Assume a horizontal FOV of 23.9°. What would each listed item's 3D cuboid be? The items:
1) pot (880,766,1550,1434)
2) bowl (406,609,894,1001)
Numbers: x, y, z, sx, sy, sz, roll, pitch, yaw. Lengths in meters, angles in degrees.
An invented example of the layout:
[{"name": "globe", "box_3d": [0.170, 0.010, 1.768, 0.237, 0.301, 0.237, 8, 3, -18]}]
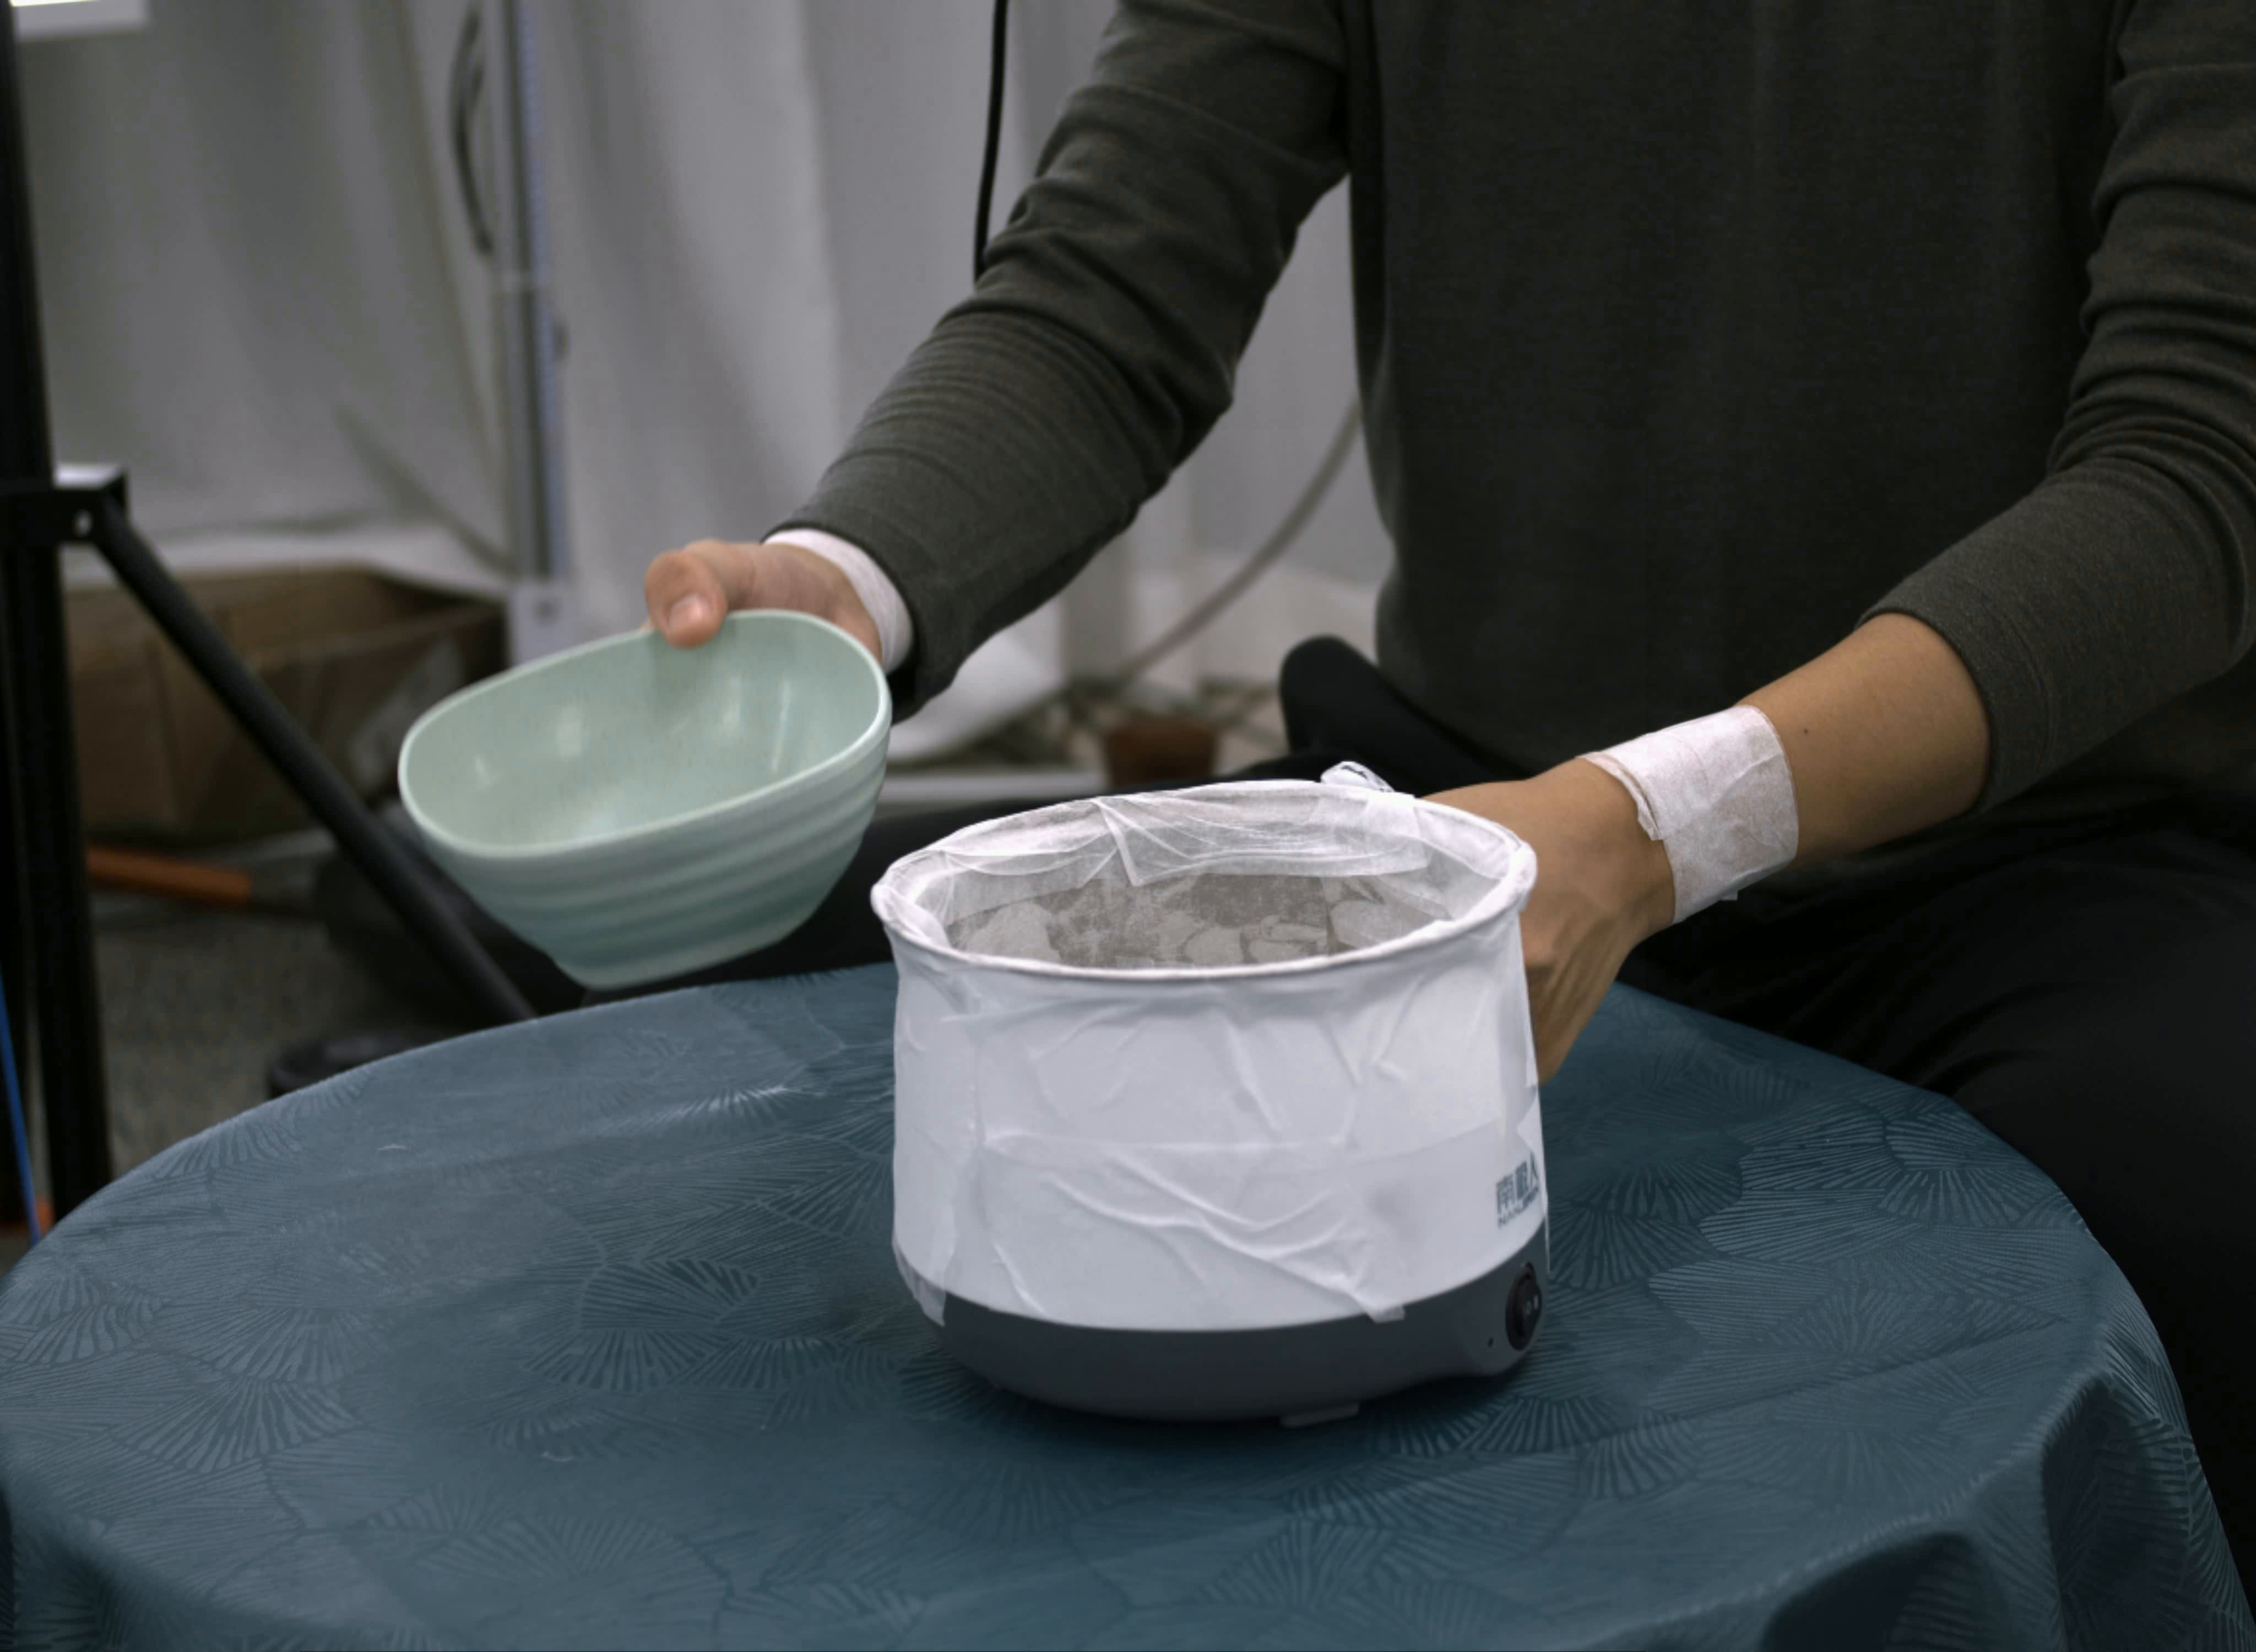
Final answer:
[{"name": "pot", "box_3d": [0.036, 0.068, 1.448, 0.181, 0.136, 0.230, 4, 17, 25]}, {"name": "bowl", "box_3d": [-0.129, 0.000, 1.507, 0.151, 0.058, 0.153, -12, 27, 5]}]
